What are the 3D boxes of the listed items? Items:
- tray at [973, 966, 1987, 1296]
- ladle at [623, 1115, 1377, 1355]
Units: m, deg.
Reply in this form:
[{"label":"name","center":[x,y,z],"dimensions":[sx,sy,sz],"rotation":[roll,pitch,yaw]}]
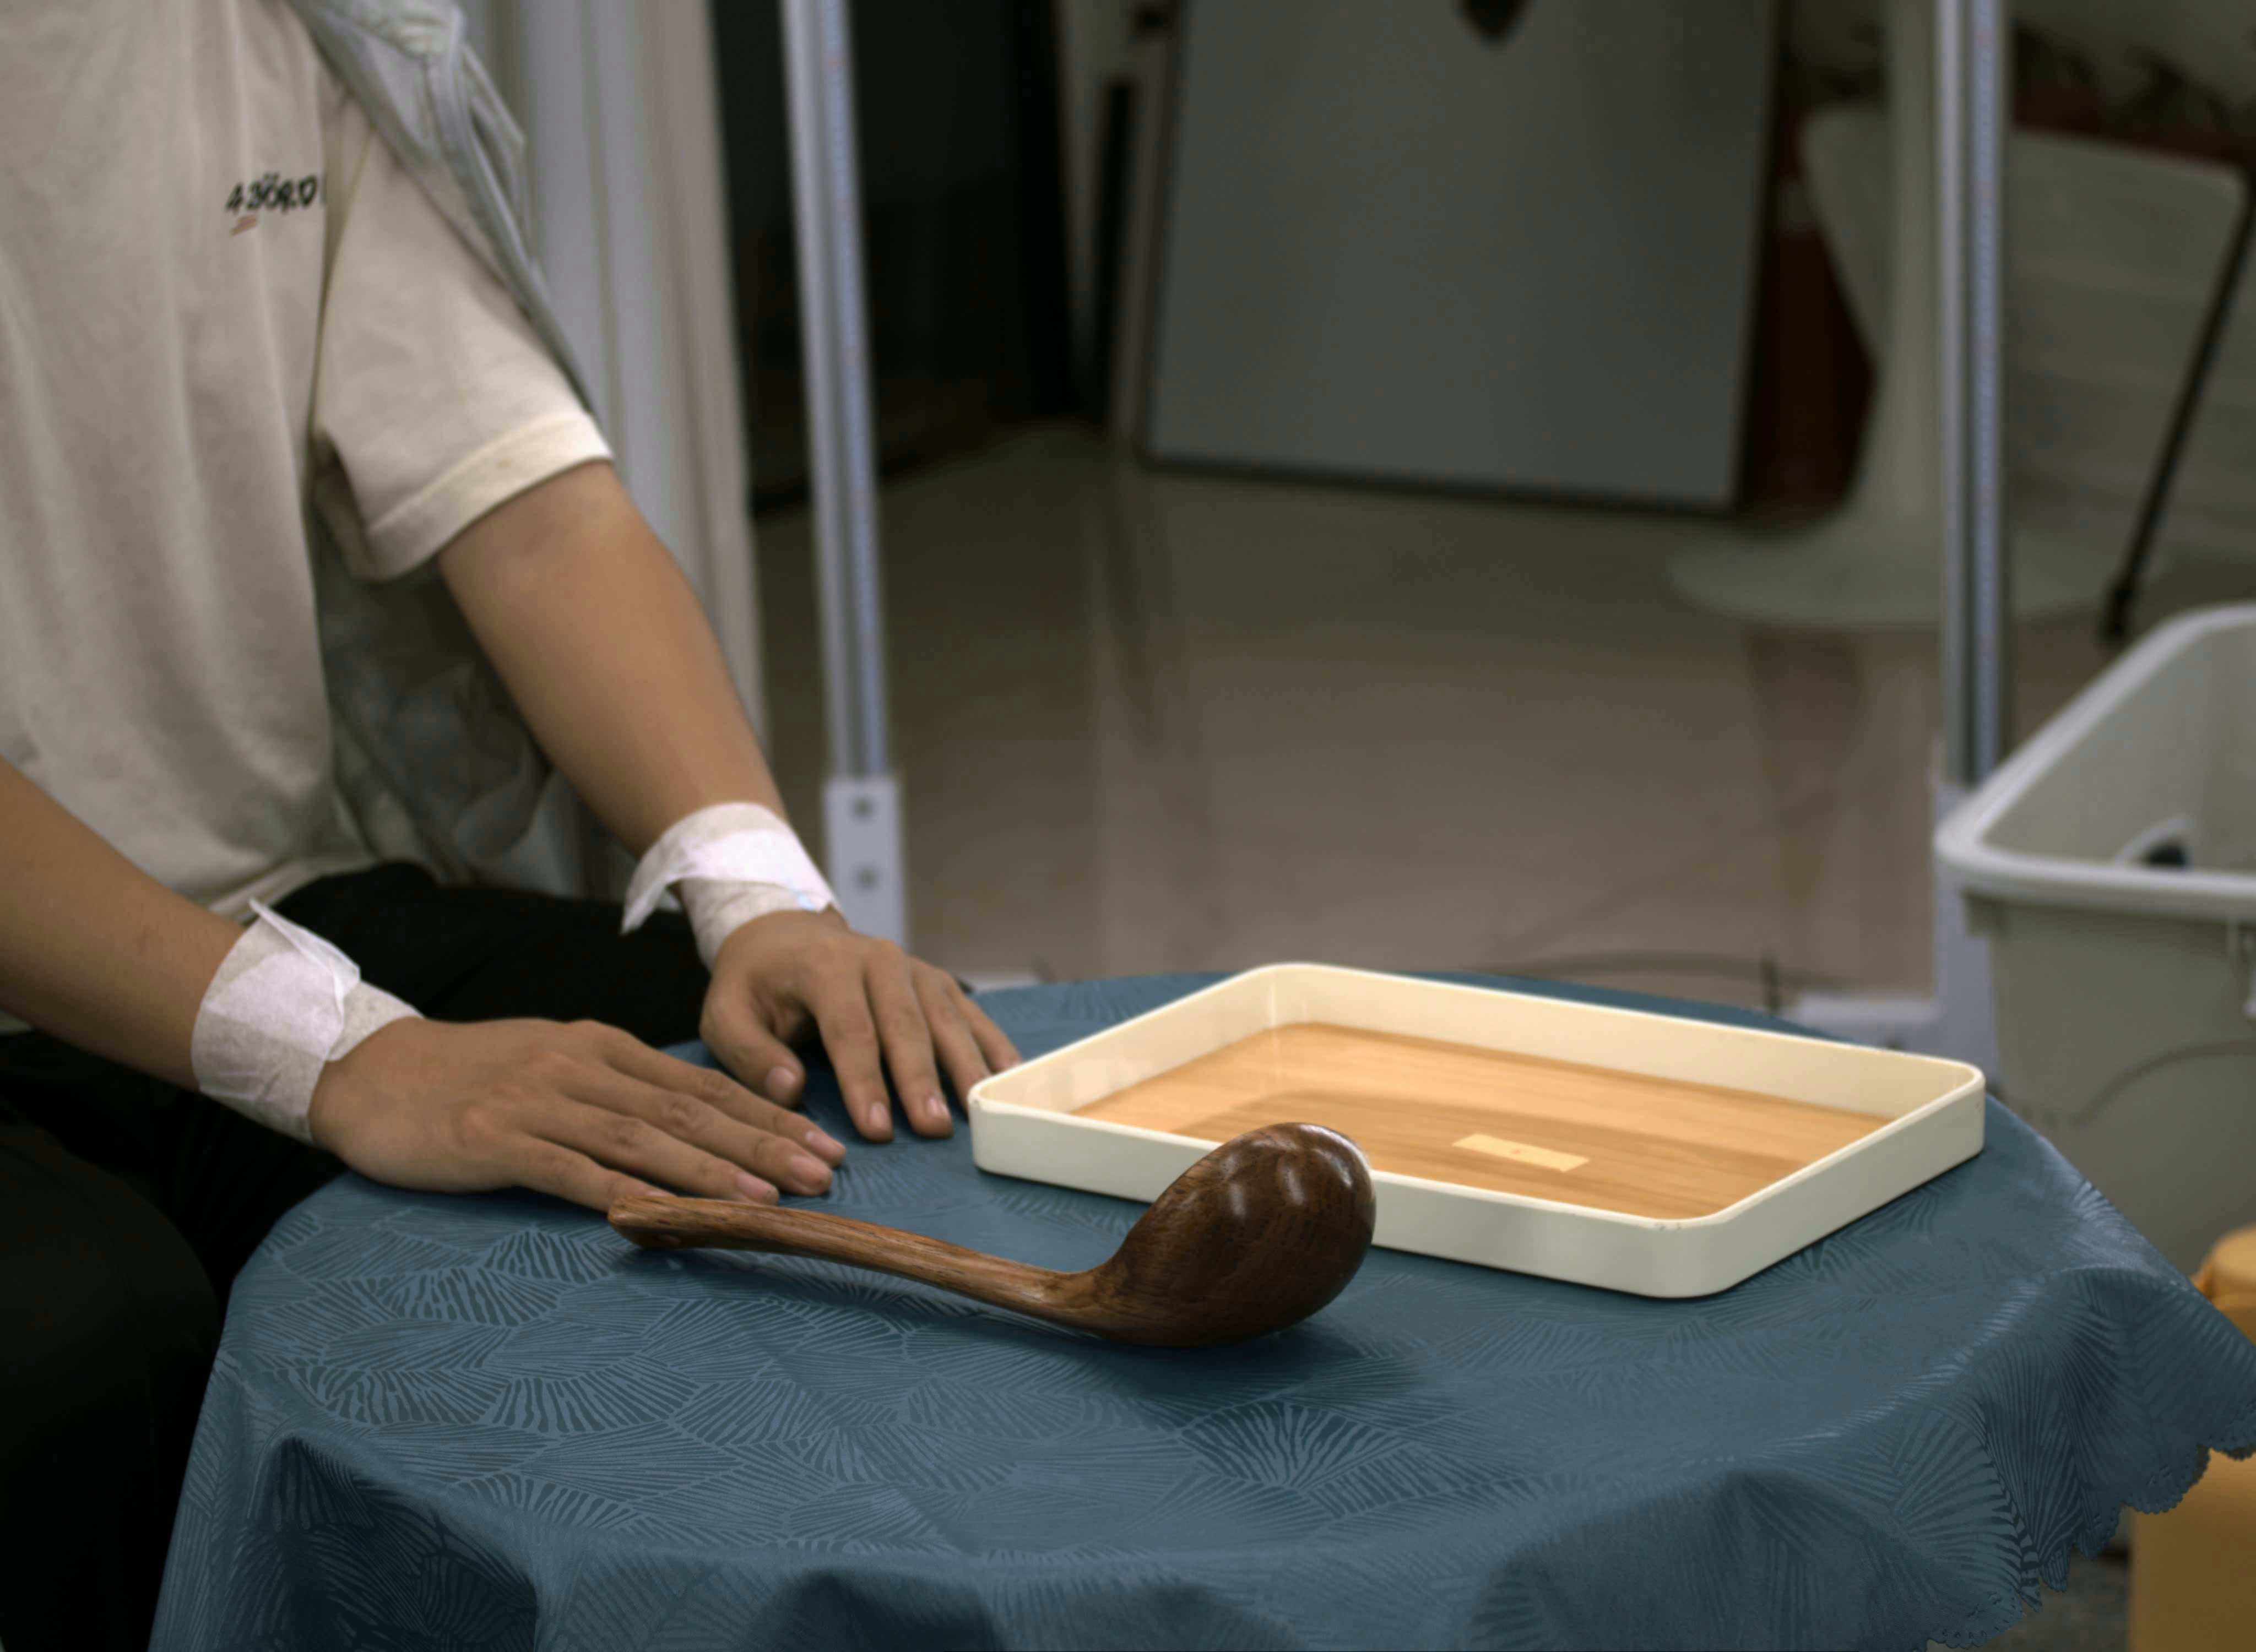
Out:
[{"label":"tray","center":[0.115,0.097,1.781],"dimensions":[0.302,0.028,0.188],"rotation":[7,18,39]},{"label":"ladle","center":[-0.045,0.114,1.671],"dimensions":[0.276,0.077,0.081],"rotation":[6,-22,40]}]
